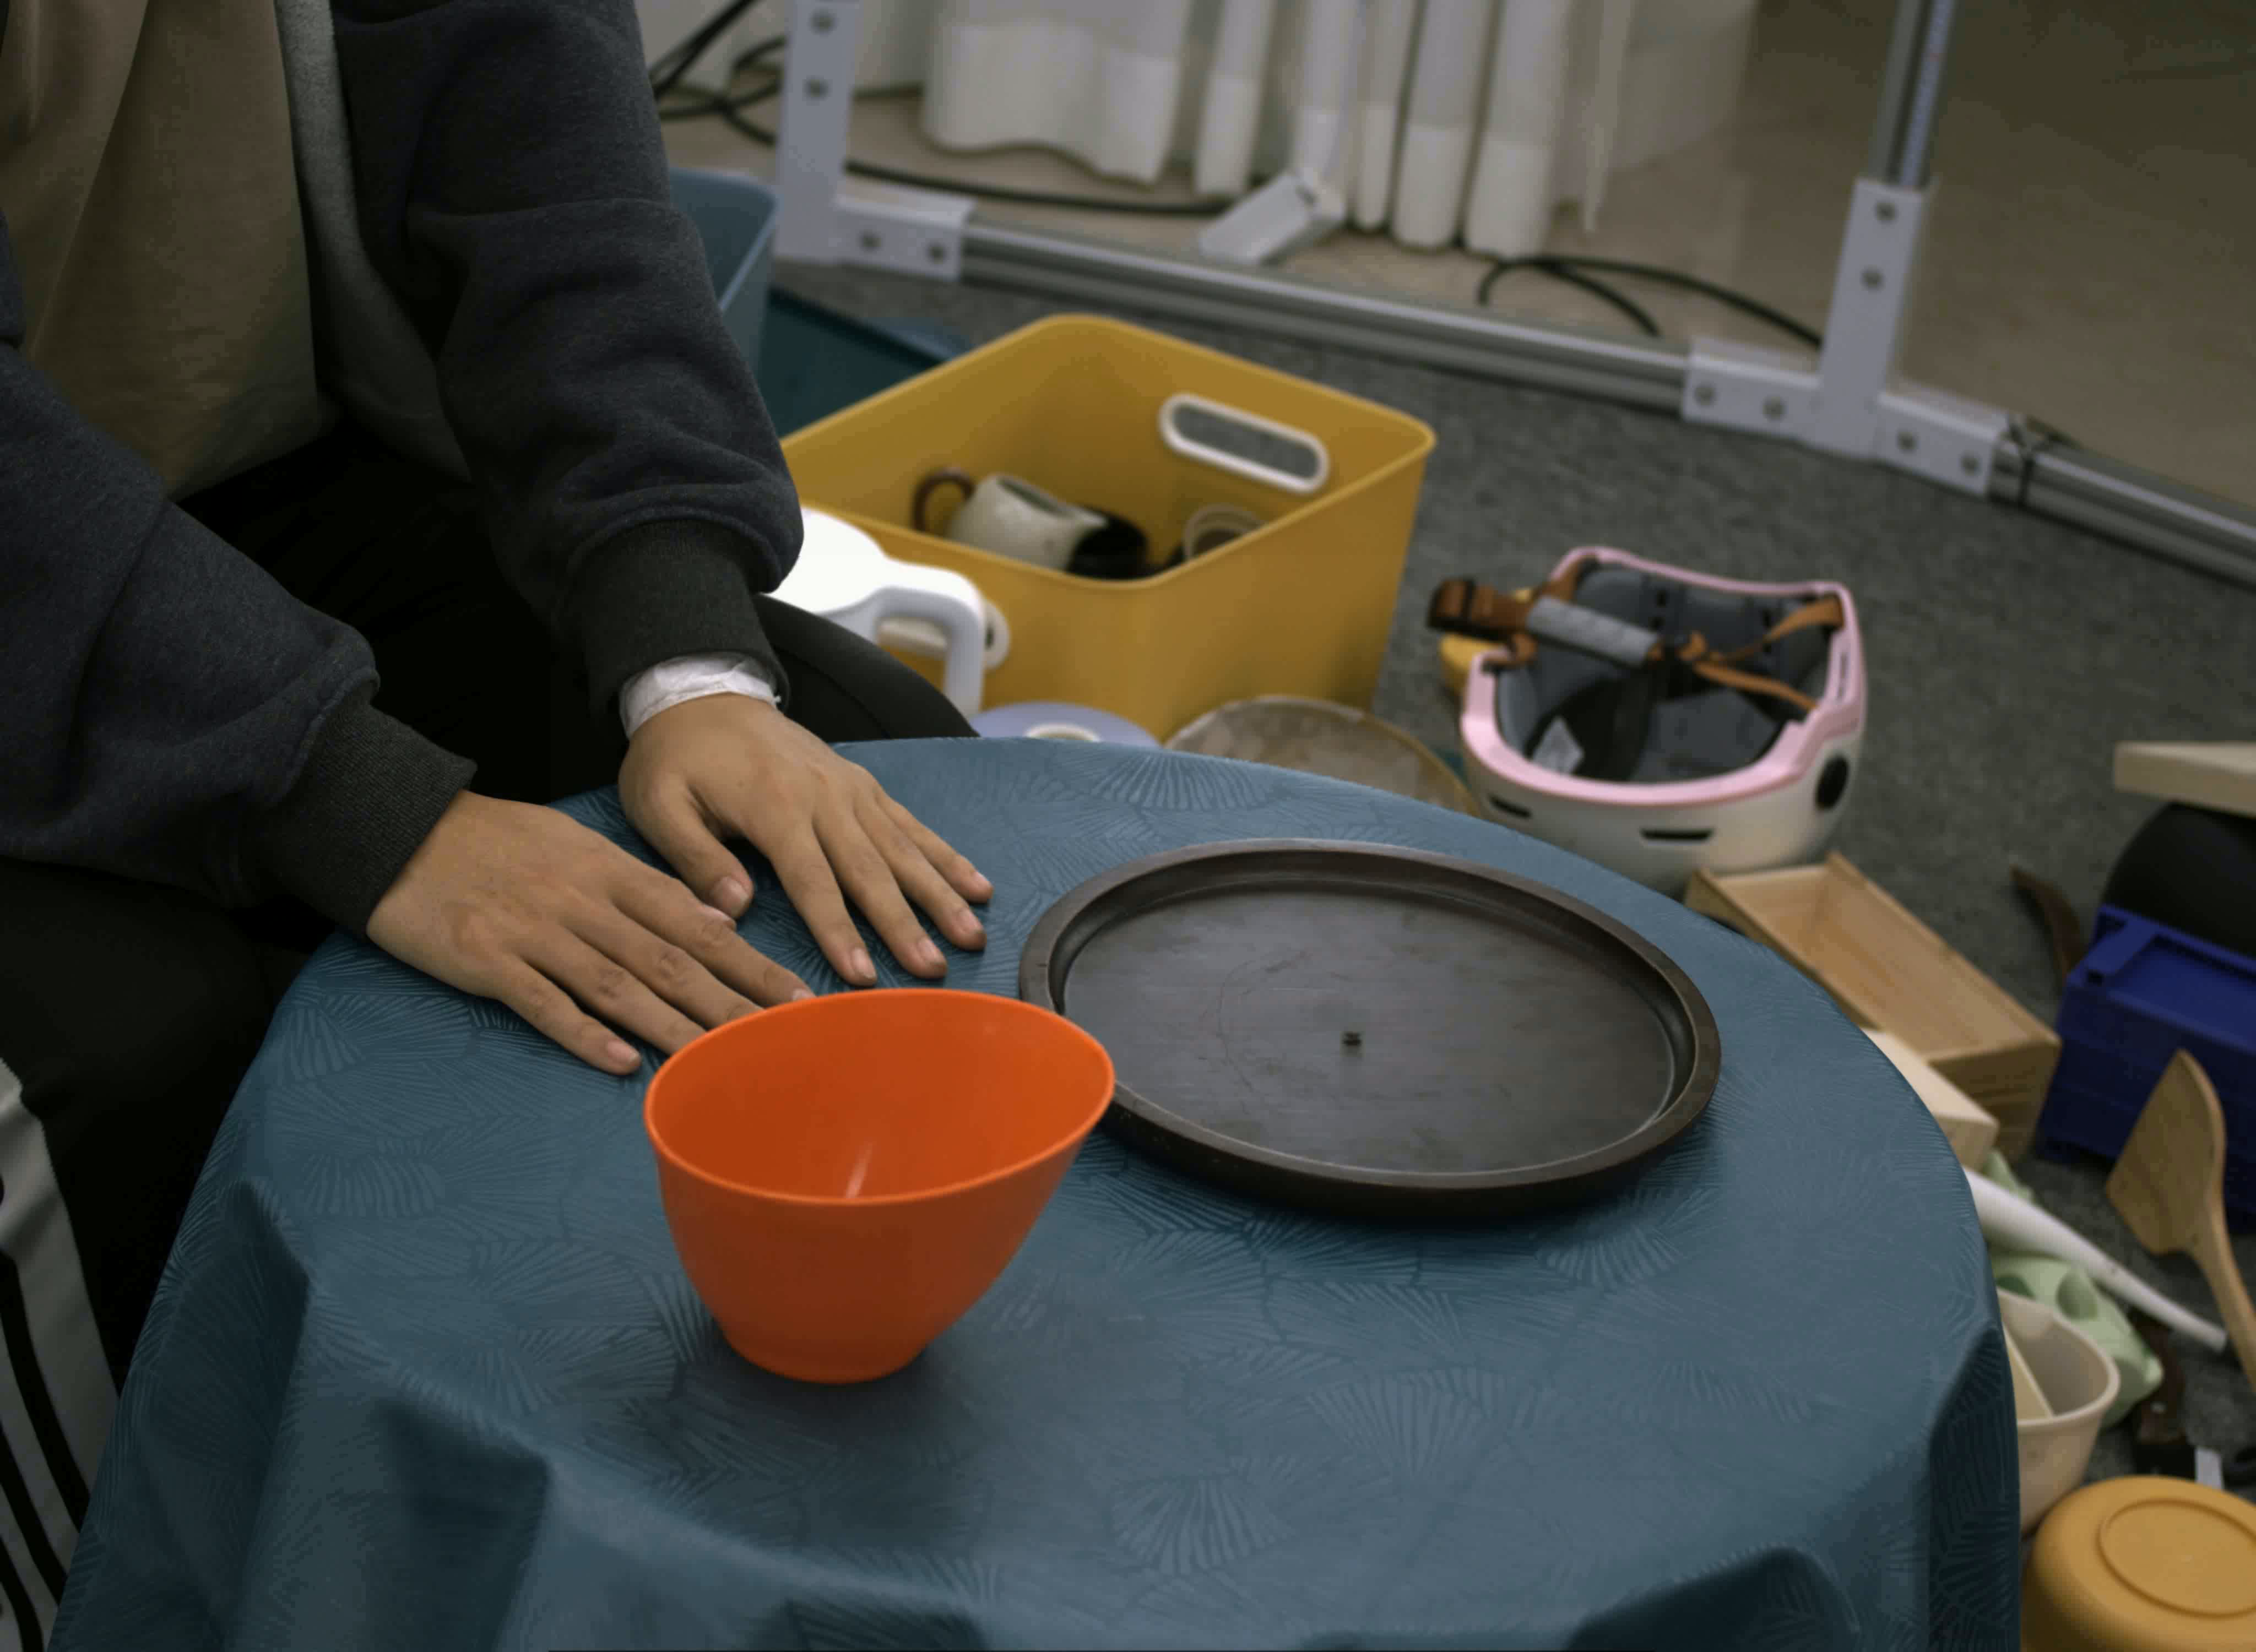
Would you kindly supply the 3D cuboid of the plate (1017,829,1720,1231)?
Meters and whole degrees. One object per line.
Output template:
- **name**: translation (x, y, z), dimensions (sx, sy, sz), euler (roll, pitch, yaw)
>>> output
- **plate**: translation (0.085, 0.072, 1.896), dimensions (0.254, 0.029, 0.256), euler (4, 28, -3)

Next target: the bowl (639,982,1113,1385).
- **bowl**: translation (-0.083, 0.119, 1.680), dimensions (0.147, 0.104, 0.149), euler (5, 29, -3)
